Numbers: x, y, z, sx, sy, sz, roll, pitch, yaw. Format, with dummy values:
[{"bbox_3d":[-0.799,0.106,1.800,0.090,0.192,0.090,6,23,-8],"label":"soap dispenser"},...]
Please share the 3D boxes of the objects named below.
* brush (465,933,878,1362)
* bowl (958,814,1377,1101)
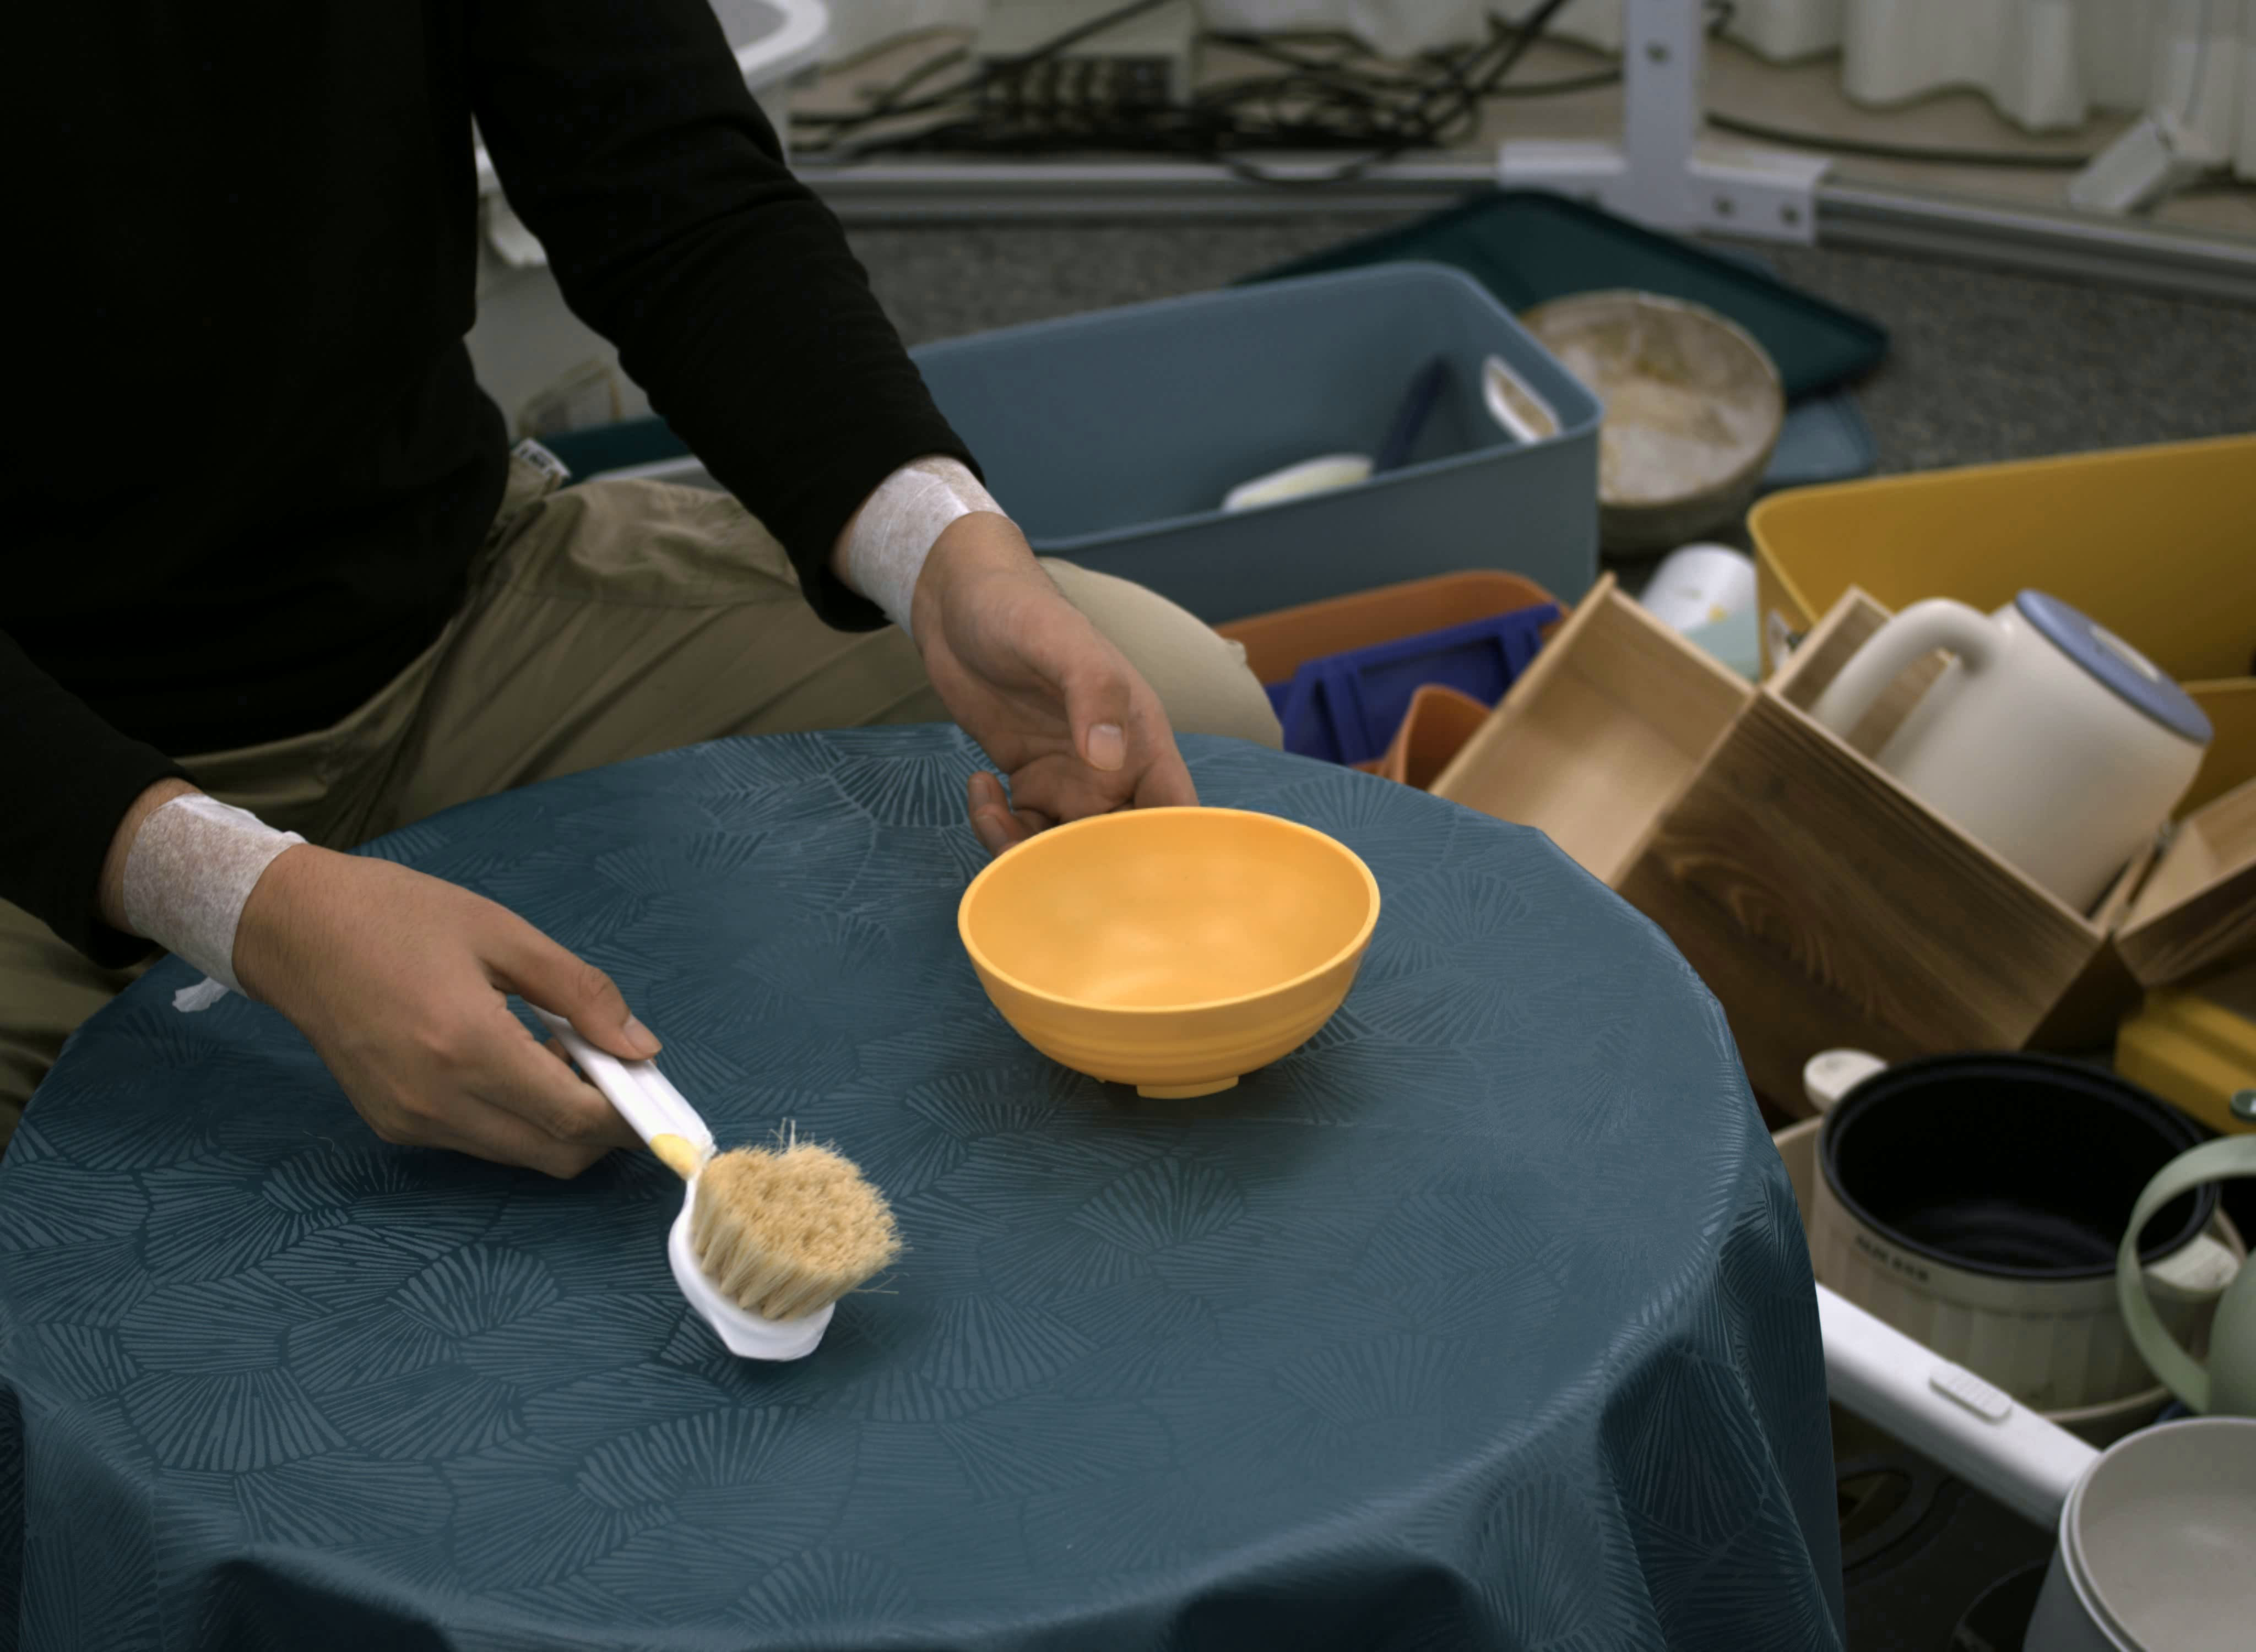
[{"bbox_3d":[-0.158,0.084,1.853,0.068,0.056,0.269,19,18,-34],"label":"brush"},{"bbox_3d":[0.014,0.053,1.929,0.144,0.059,0.147,-2,26,1],"label":"bowl"}]
